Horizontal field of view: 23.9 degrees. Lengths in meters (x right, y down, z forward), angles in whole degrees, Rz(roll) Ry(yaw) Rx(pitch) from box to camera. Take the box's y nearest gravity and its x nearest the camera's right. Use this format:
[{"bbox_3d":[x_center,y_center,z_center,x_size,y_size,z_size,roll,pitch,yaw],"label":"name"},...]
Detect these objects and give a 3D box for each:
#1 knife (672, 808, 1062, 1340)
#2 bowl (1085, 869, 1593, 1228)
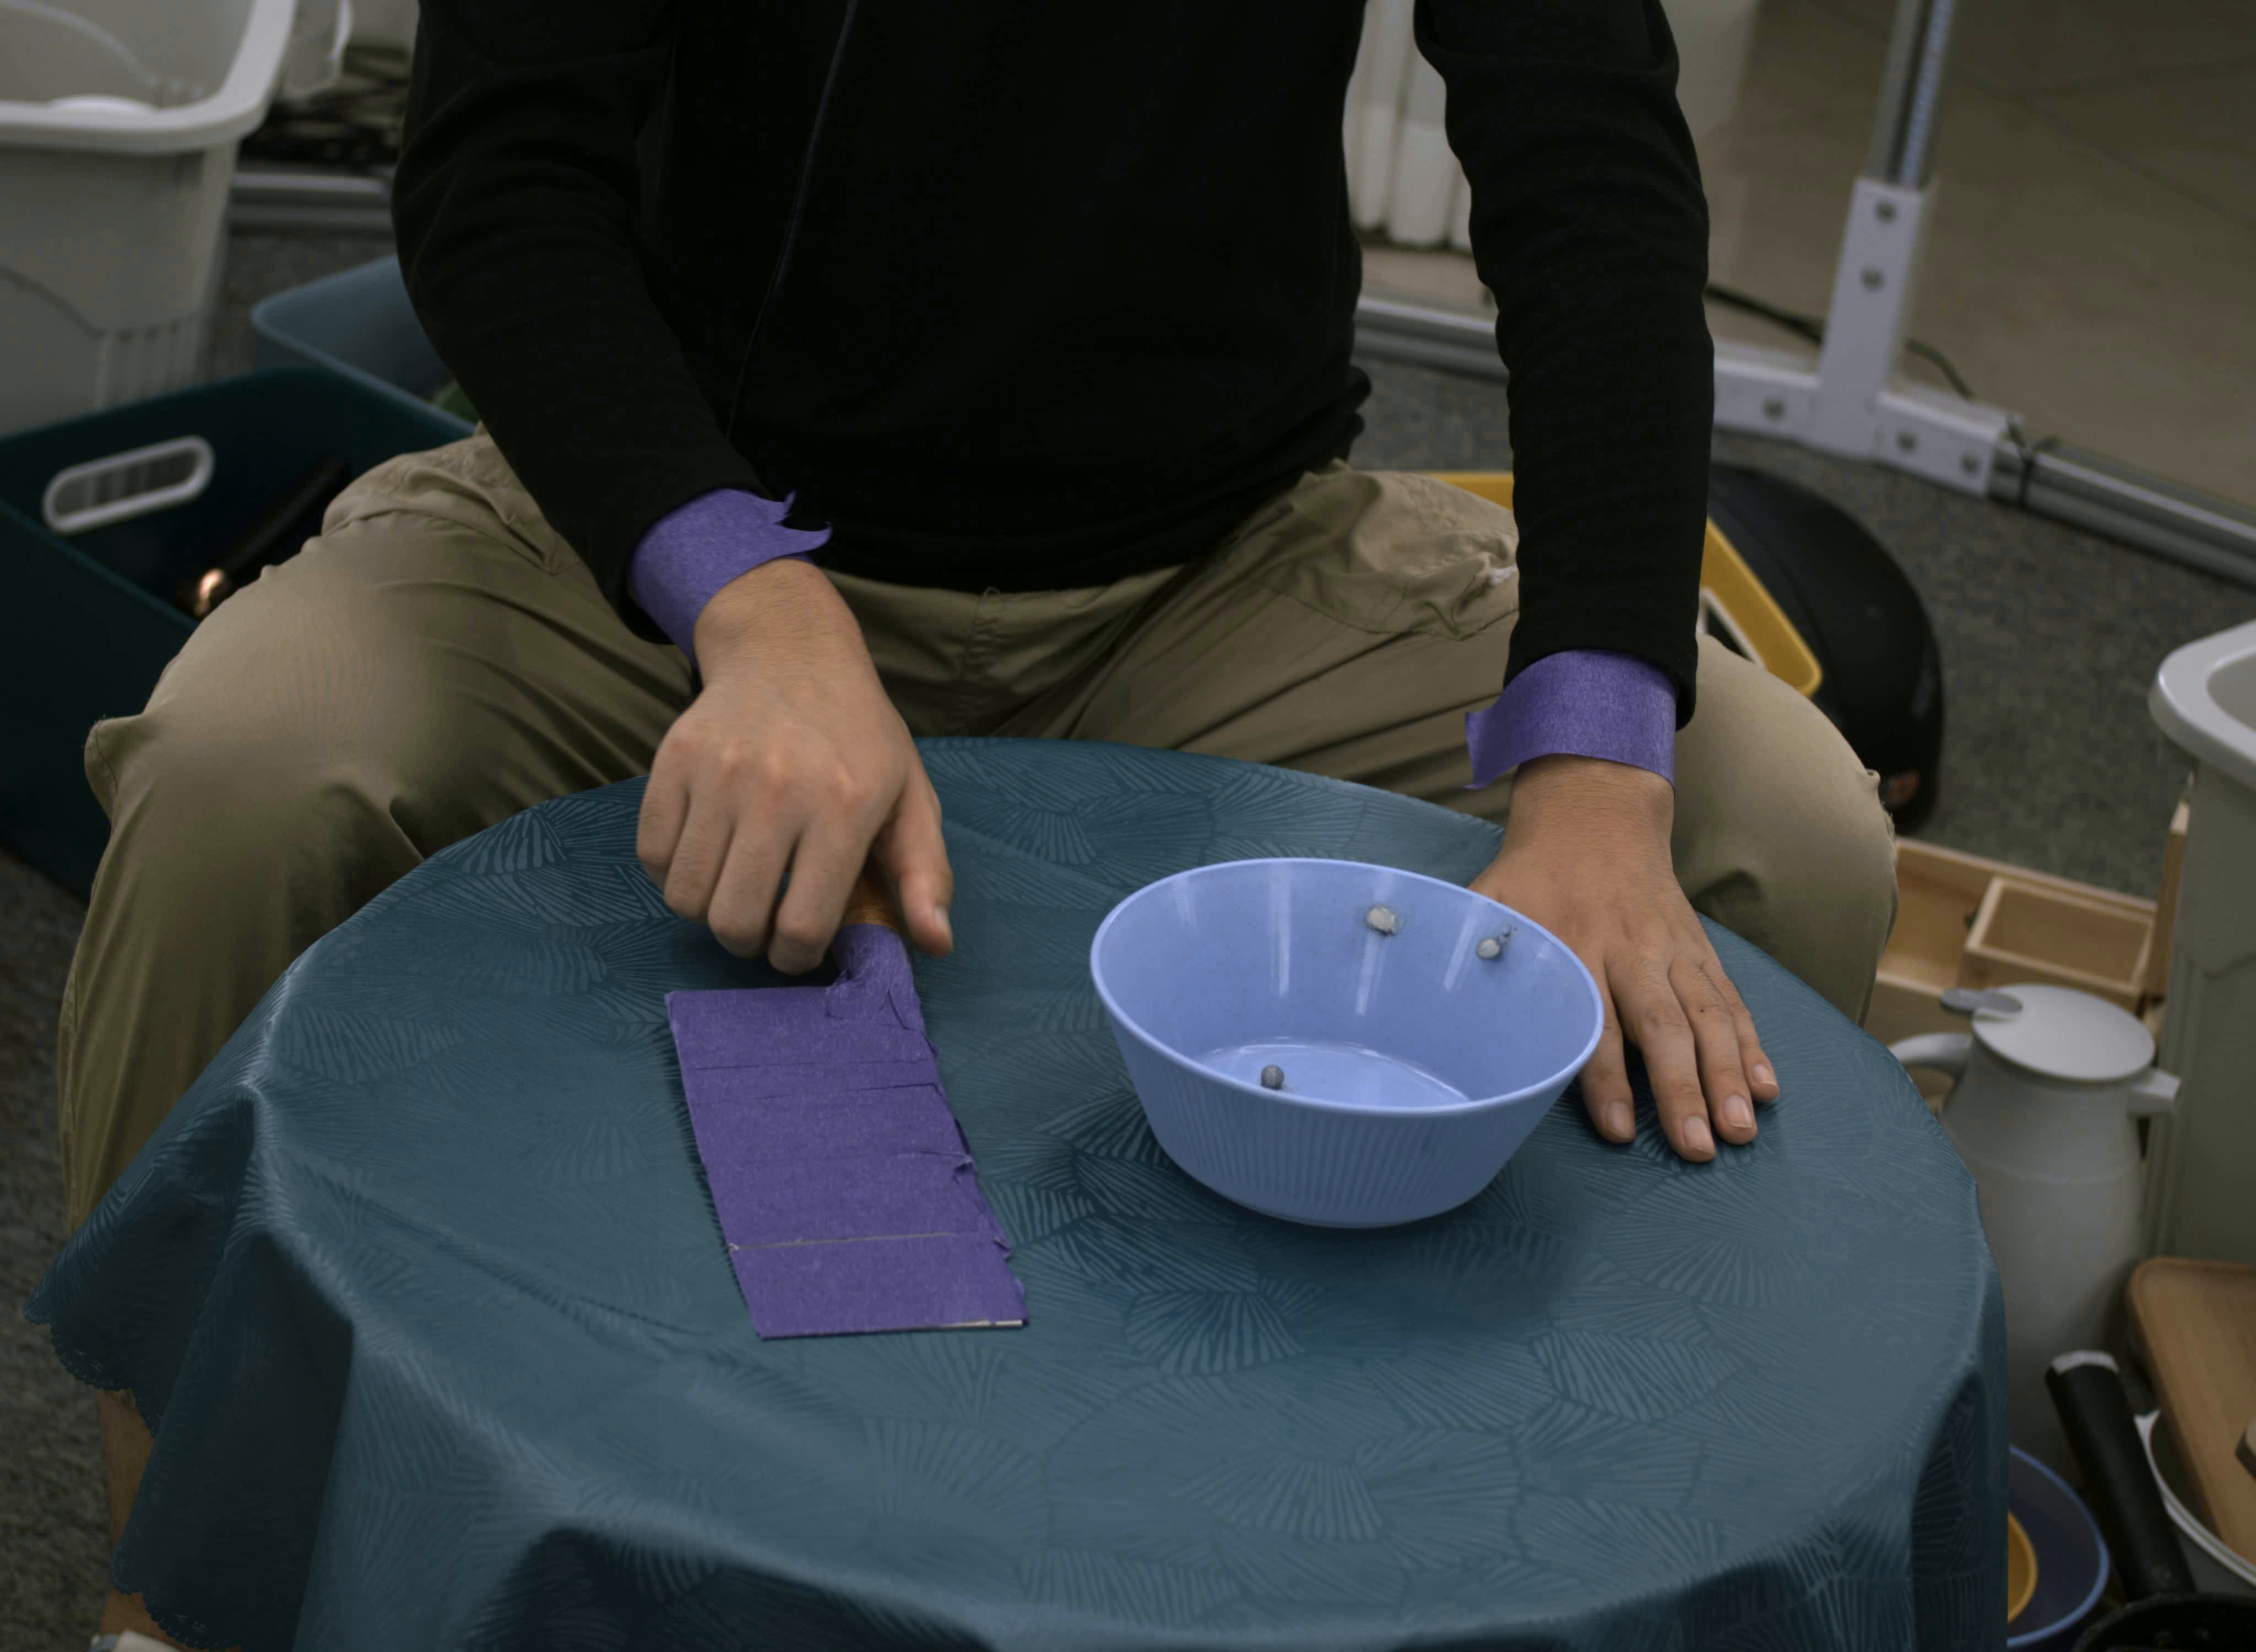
[{"bbox_3d":[-0.106,0.081,1.837,0.103,0.032,0.318,-1,28,-15],"label":"knife"},{"bbox_3d":[0.068,0.082,1.825,0.175,0.070,0.177,6,25,-3],"label":"bowl"}]
